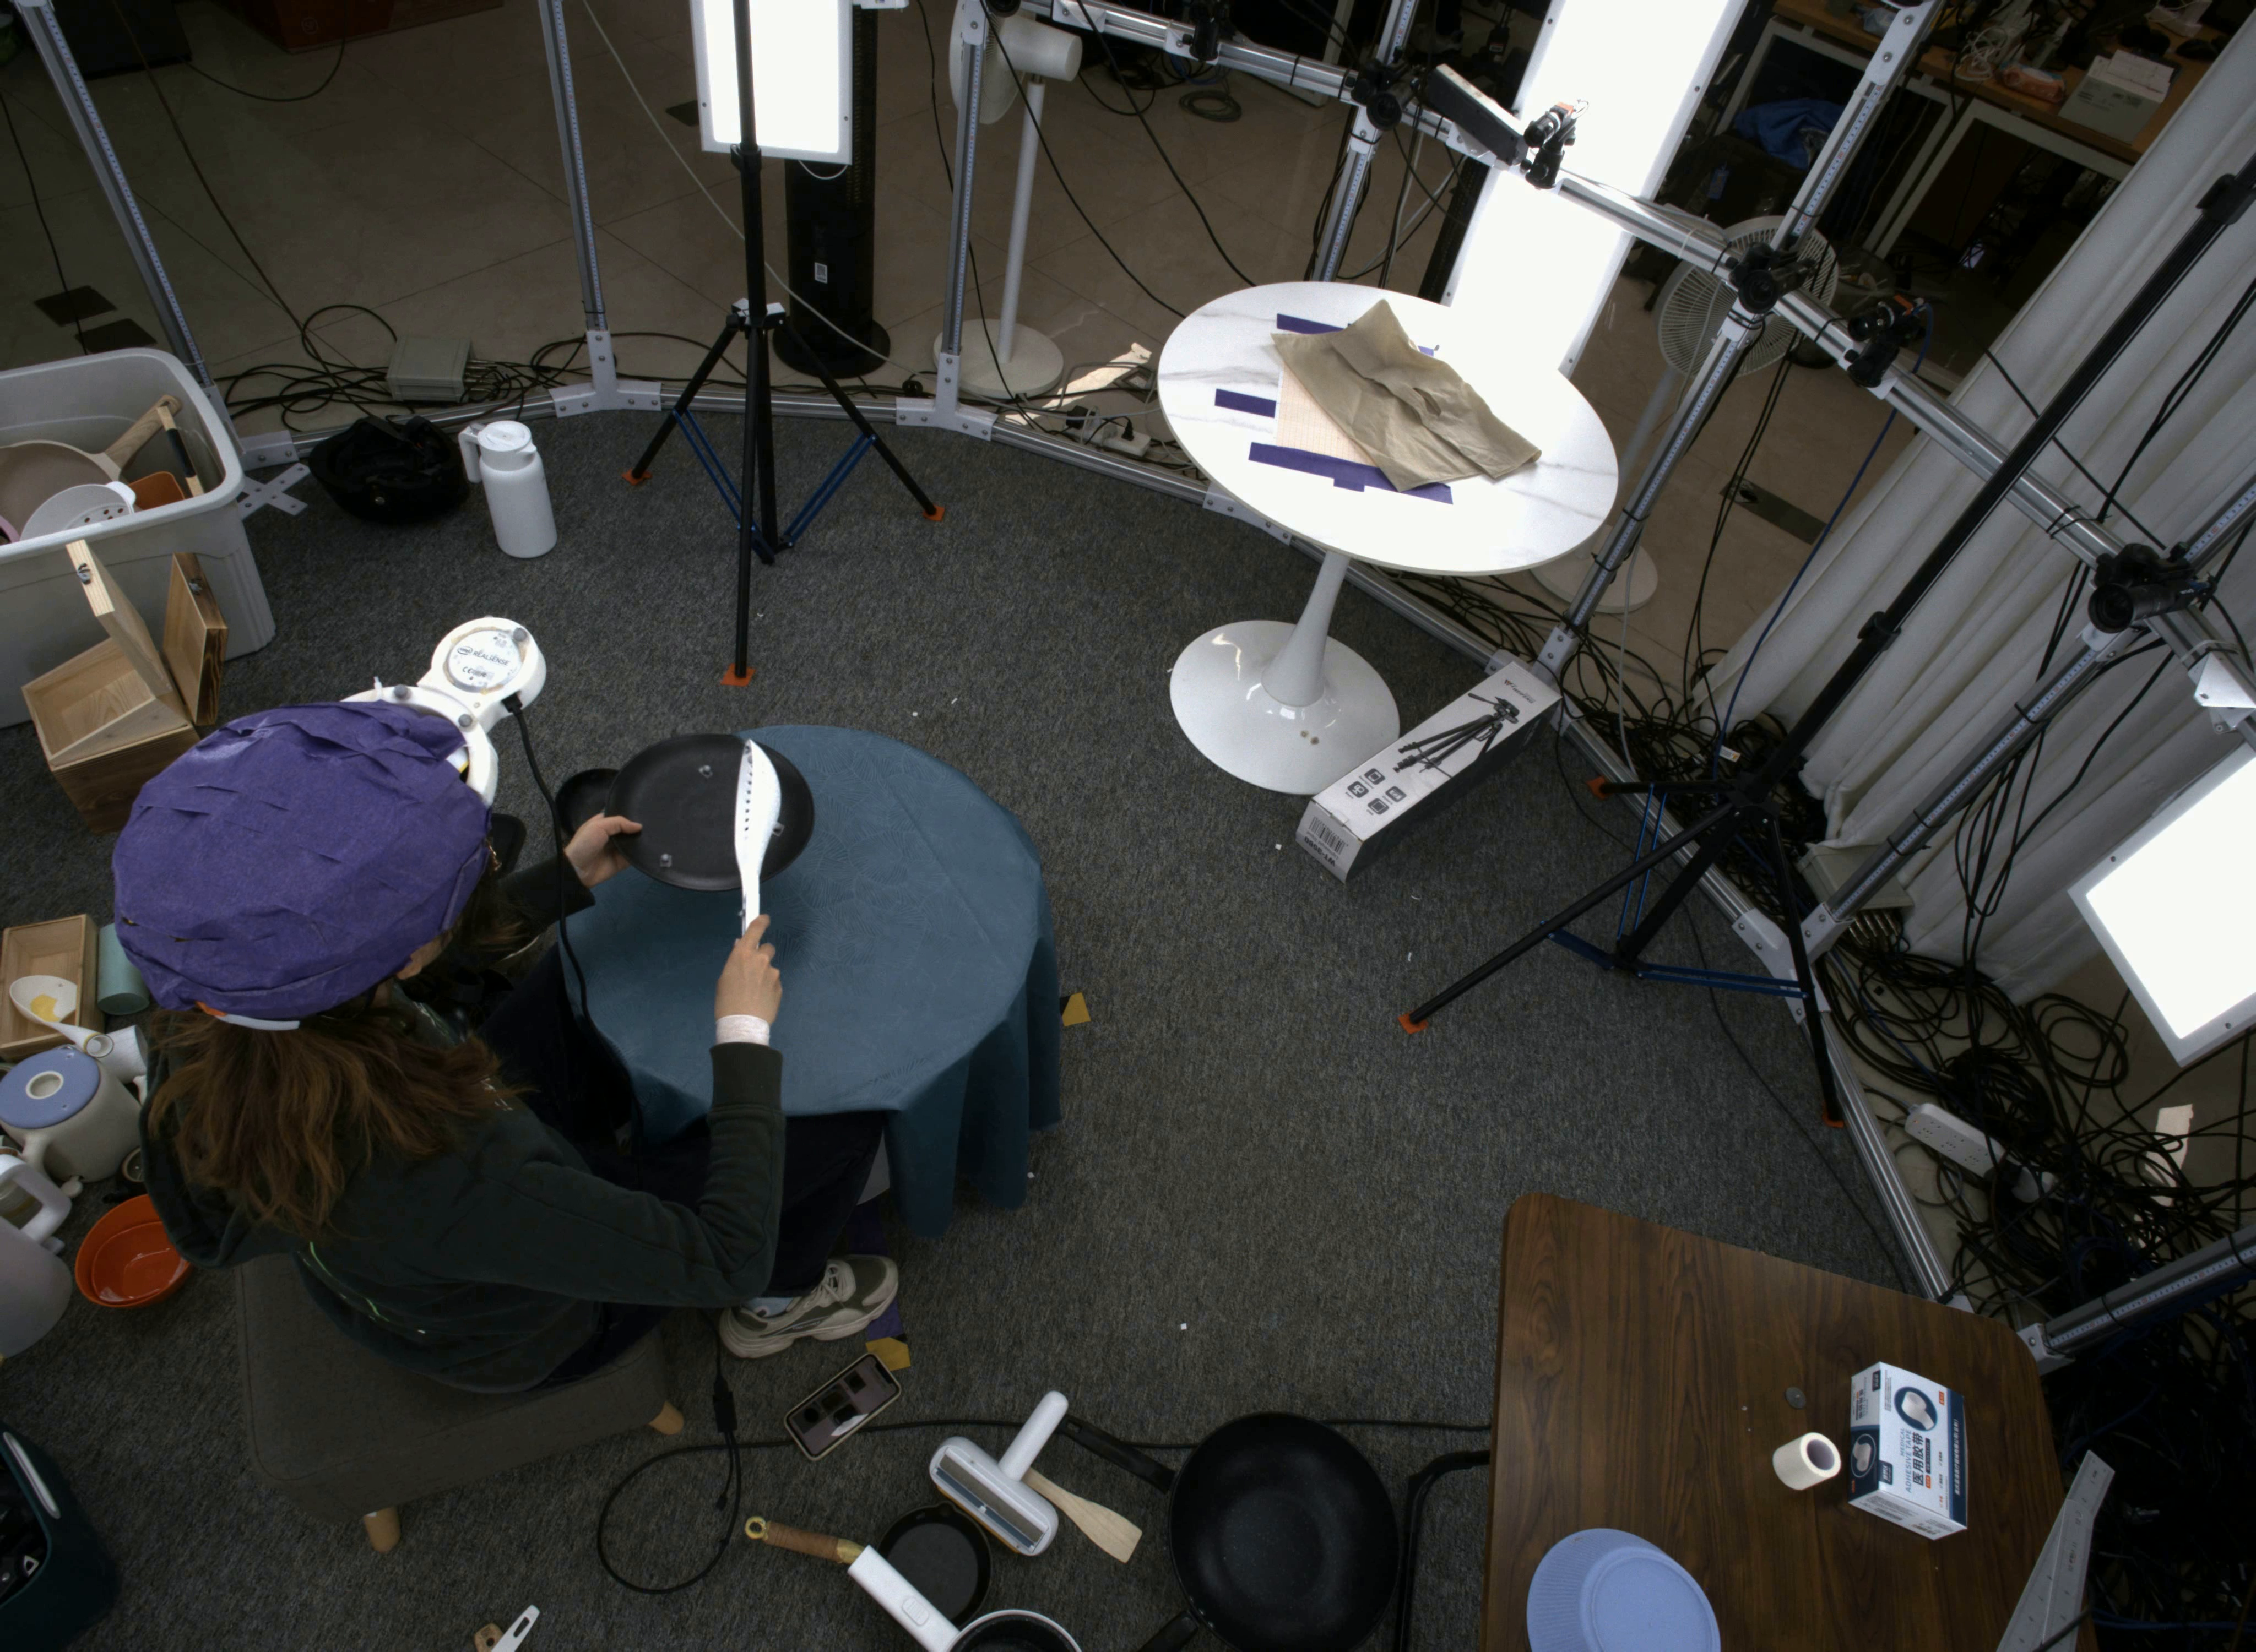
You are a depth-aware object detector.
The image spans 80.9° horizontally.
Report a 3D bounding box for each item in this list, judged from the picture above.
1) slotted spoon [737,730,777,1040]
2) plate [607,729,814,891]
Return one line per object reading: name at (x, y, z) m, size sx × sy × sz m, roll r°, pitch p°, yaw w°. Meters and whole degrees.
slotted spoon at (-0.404, 0.057, 1.373) m, size 0.046 × 0.137 × 0.344 m, roll 6°, pitch 59°, yaw -18°
plate at (-0.501, -0.018, 1.546) m, size 0.245 × 0.024 × 0.240 m, roll 11°, pitch 51°, yaw -12°
